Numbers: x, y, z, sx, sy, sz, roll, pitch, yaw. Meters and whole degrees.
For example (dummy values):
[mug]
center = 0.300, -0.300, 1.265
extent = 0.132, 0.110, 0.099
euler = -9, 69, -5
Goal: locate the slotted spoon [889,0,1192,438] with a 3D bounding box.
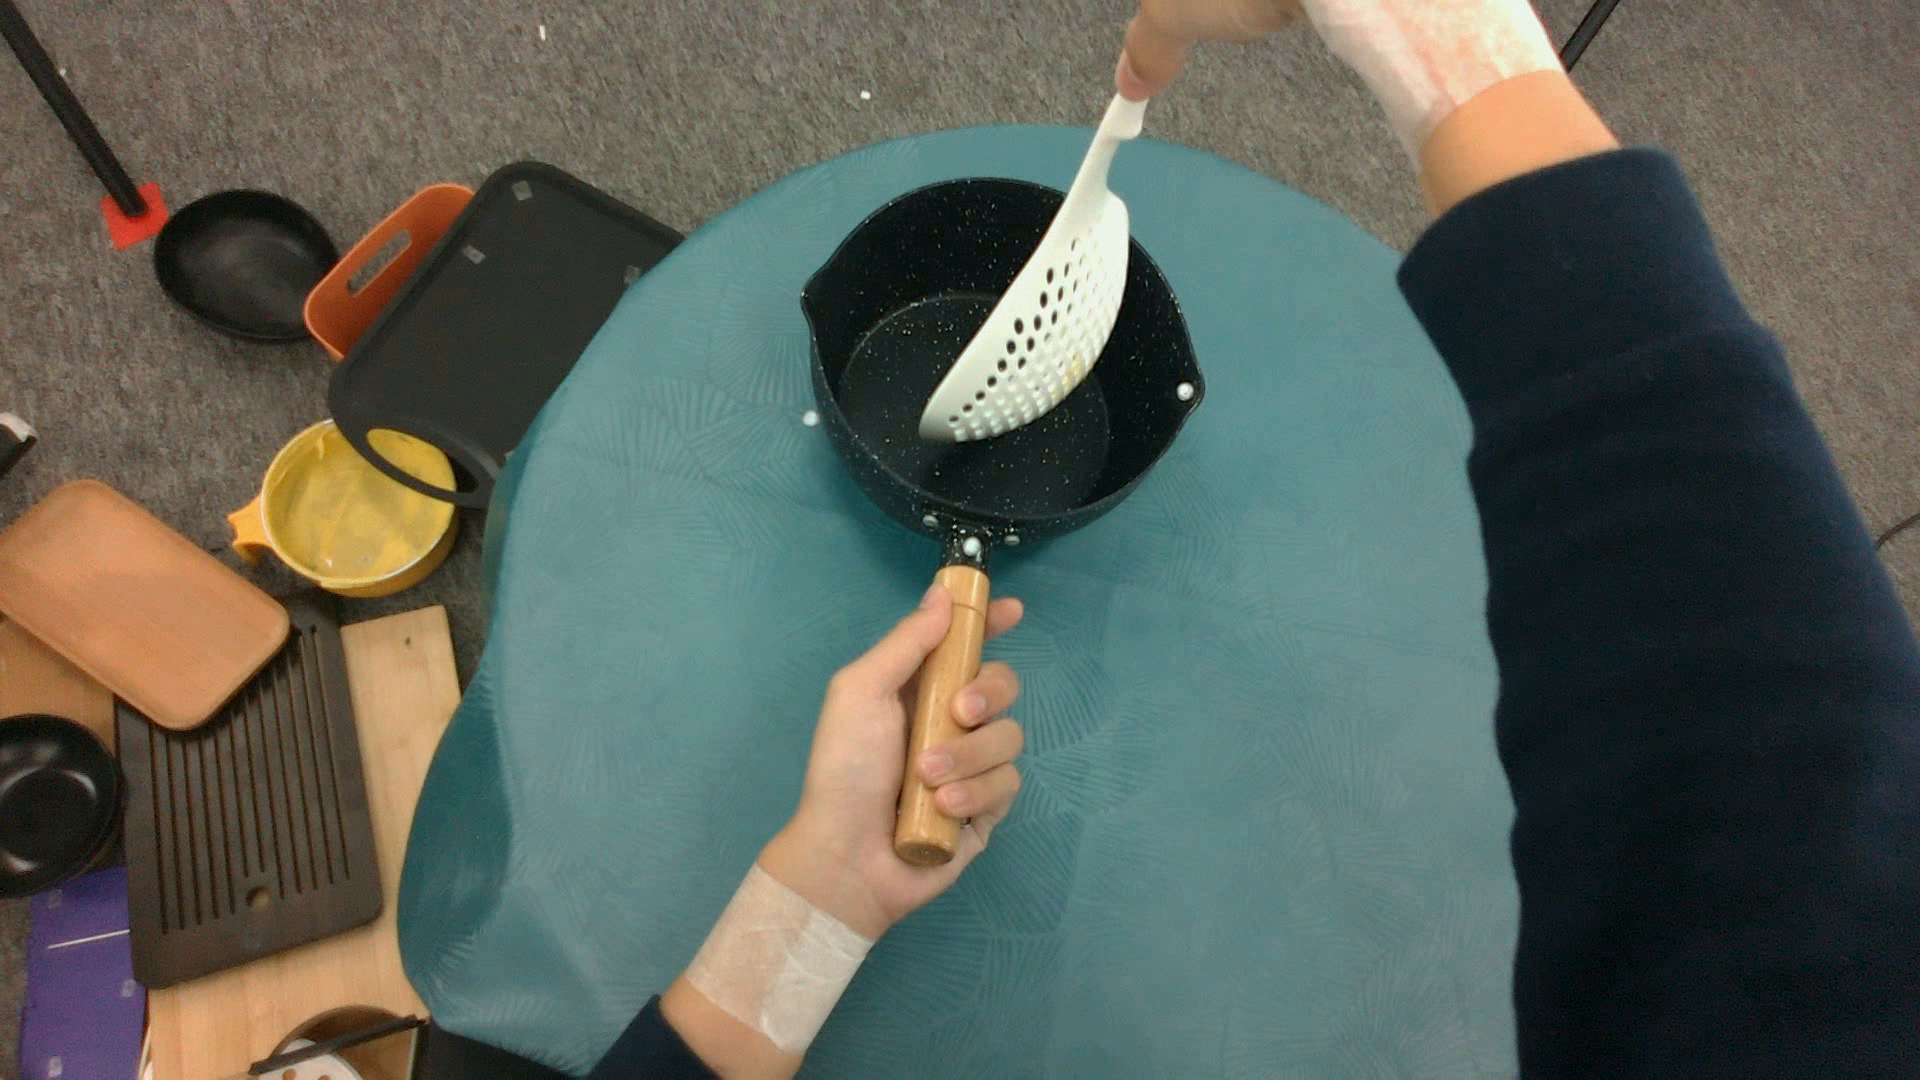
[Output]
[slotted spoon]
center = 0.047, -0.134, 0.555
extent = 0.050, 0.346, 0.137
euler = 40, 66, 9

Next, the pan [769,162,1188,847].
[pan]
center = -0.004, -0.018, 0.650
extent = 0.207, 0.108, 0.344
euler = 11, 66, -8
